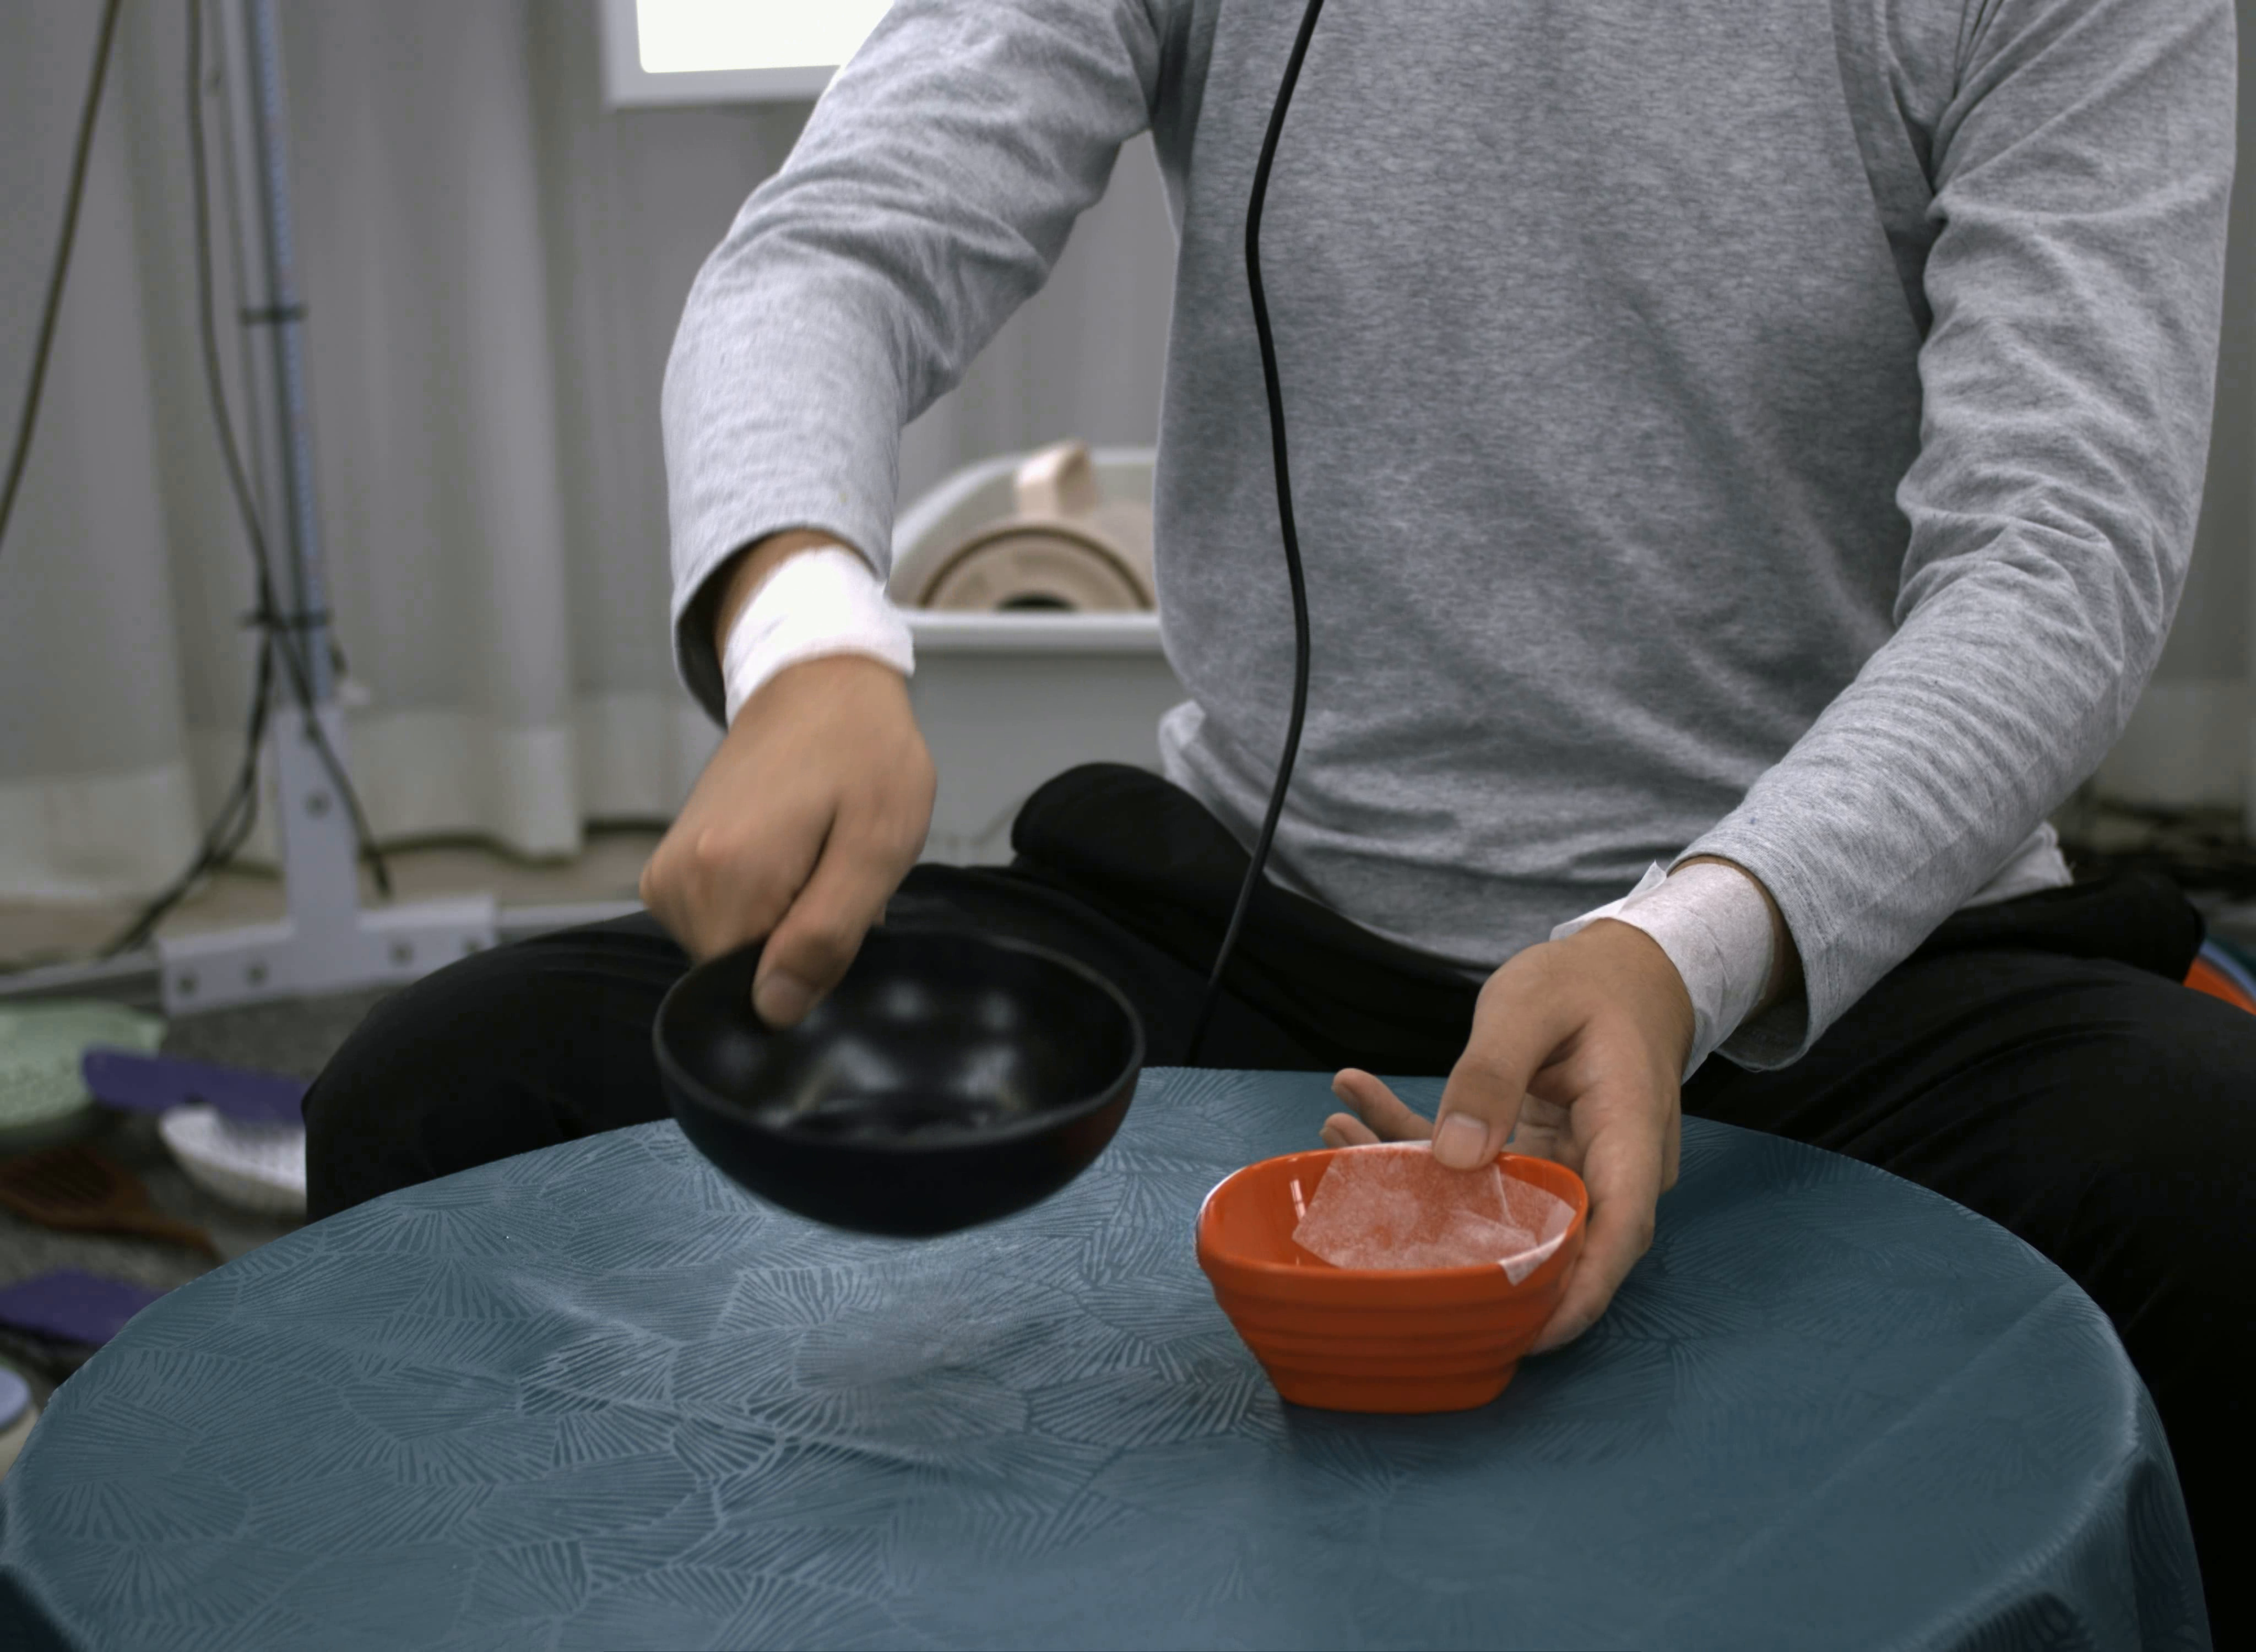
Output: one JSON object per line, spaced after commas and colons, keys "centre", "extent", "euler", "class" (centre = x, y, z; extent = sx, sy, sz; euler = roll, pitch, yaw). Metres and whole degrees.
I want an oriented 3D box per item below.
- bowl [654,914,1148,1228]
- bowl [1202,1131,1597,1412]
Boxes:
{"centre": [-0.065, 0.075, 1.537], "extent": [0.139, 0.049, 0.141], "euler": [5, 23, -2], "class": "bowl"}
{"centre": [0.078, 0.129, 1.542], "extent": [0.118, 0.051, 0.120], "euler": [-4, 17, 1], "class": "bowl"}
